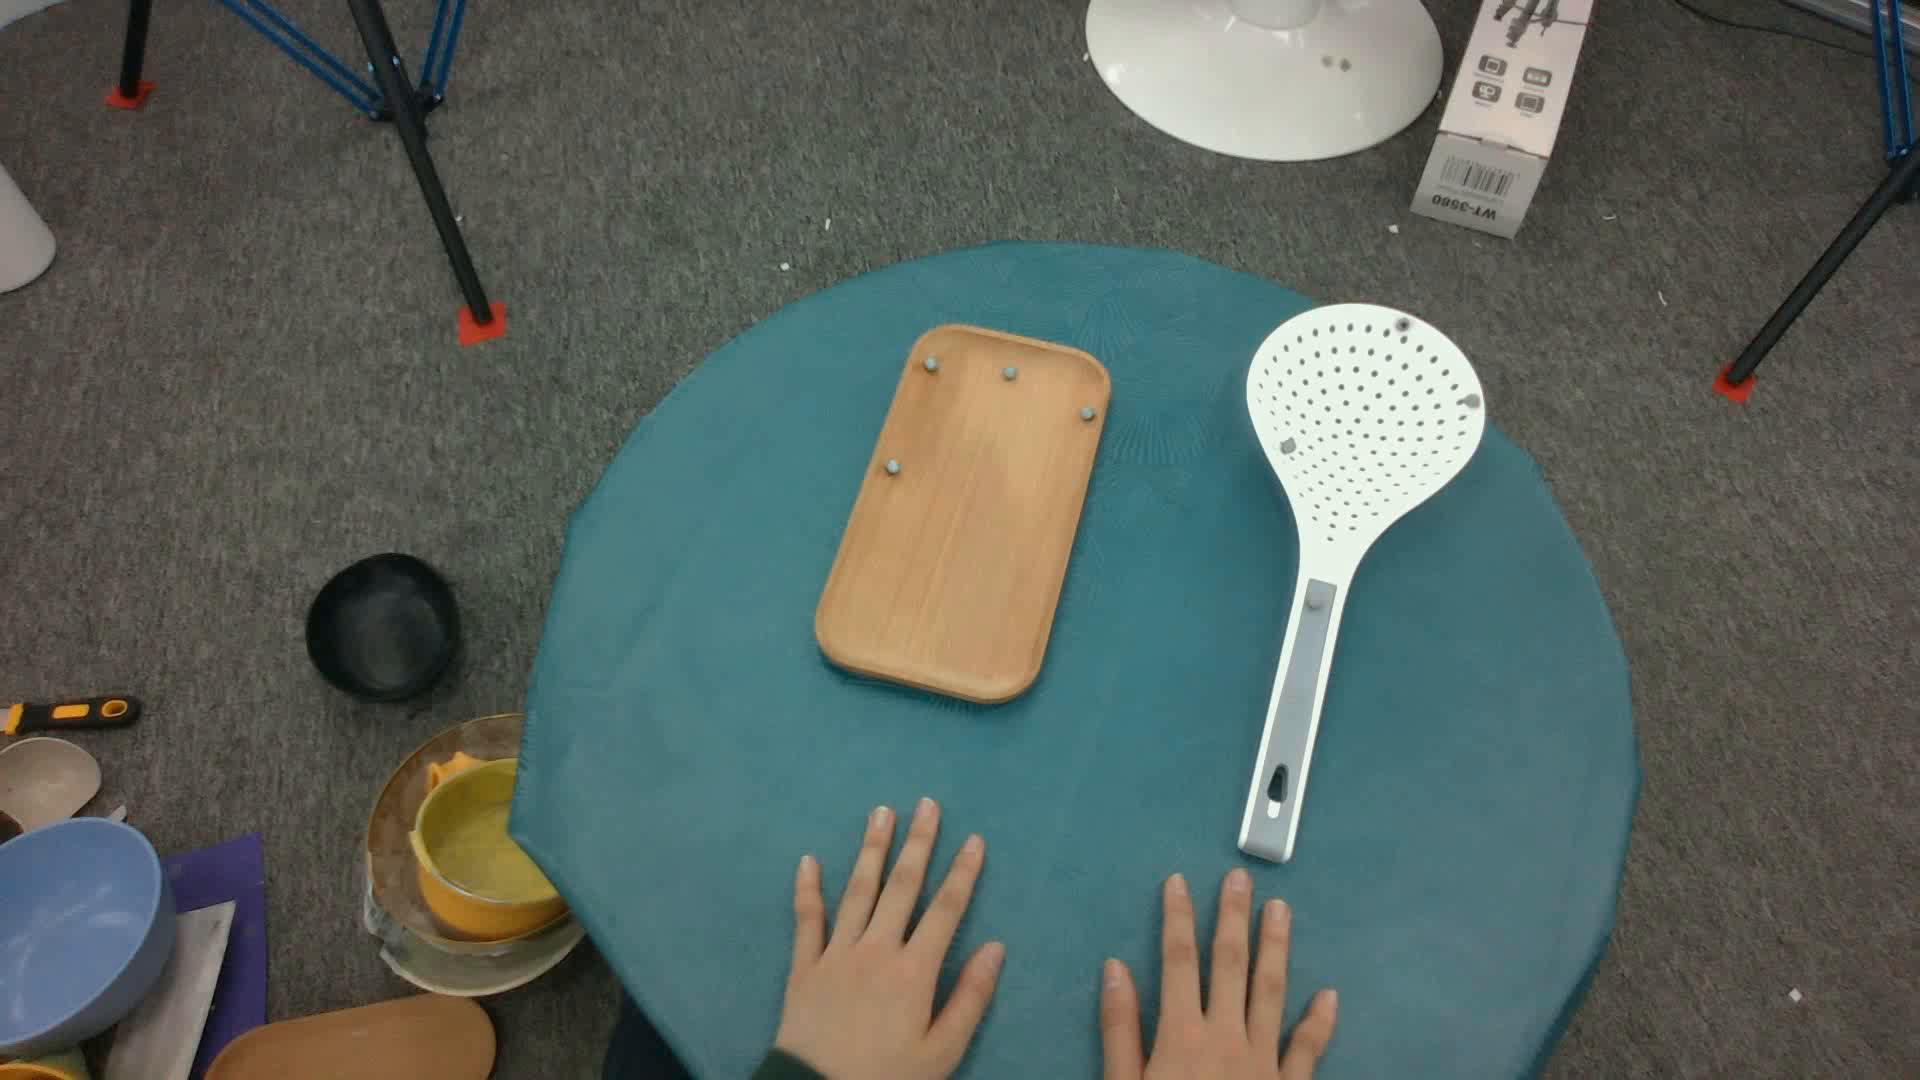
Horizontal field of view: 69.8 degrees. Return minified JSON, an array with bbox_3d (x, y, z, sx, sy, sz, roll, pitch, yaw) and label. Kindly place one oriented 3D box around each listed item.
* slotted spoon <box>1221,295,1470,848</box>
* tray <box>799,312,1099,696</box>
[{"bbox_3d":[0.199,0.005,0.771,0.136,0.045,0.351,15,59,10],"label":"slotted spoon"},{"bbox_3d":[-0.001,-0.028,0.799,0.130,0.023,0.252,13,59,7],"label":"tray"}]
